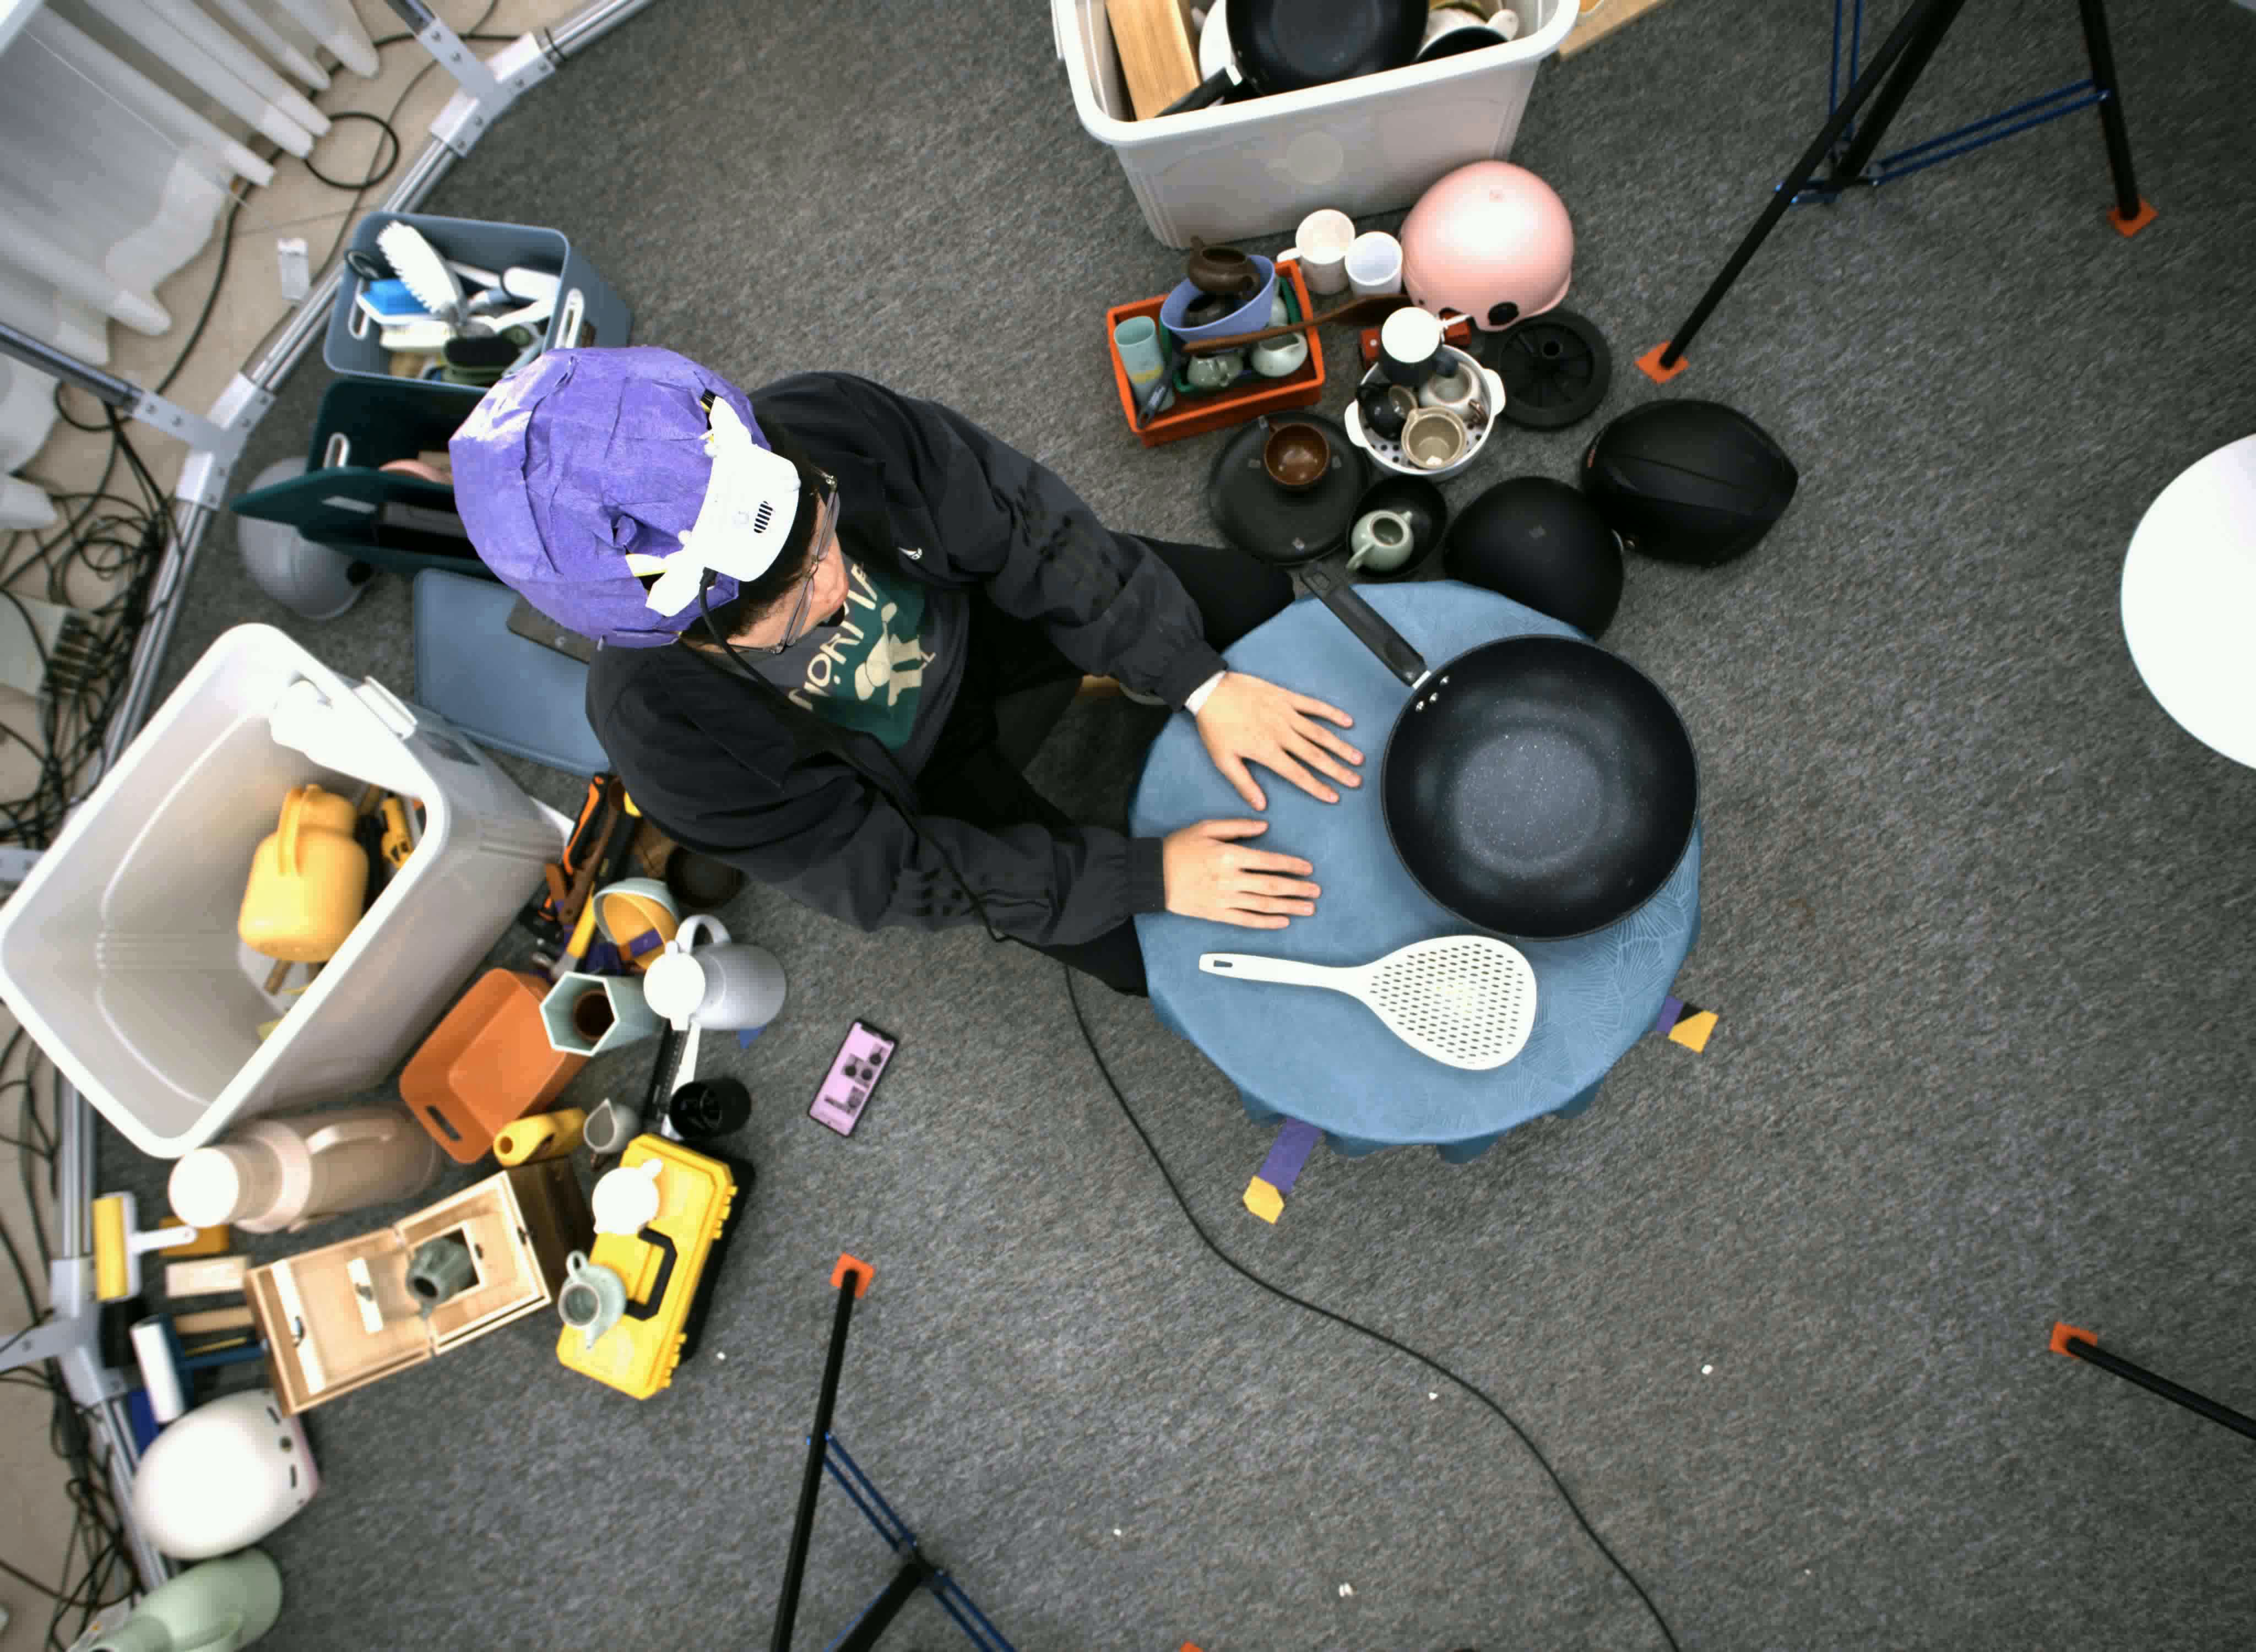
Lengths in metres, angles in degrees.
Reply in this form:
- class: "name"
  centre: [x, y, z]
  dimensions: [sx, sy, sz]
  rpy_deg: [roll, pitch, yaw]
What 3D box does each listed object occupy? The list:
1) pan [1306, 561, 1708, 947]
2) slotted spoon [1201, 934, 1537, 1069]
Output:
- class: "pan"
  centre: [0.359, -0.093, 1.397]
  dimensions: [0.475, 0.112, 0.311]
  rpy_deg: [45, 94, 9]
- class: "slotted spoon"
  centre: [0.245, 0.162, 1.438]
  dimensions: [0.349, 0.050, 0.136]
  rpy_deg: [8, 90, 11]
